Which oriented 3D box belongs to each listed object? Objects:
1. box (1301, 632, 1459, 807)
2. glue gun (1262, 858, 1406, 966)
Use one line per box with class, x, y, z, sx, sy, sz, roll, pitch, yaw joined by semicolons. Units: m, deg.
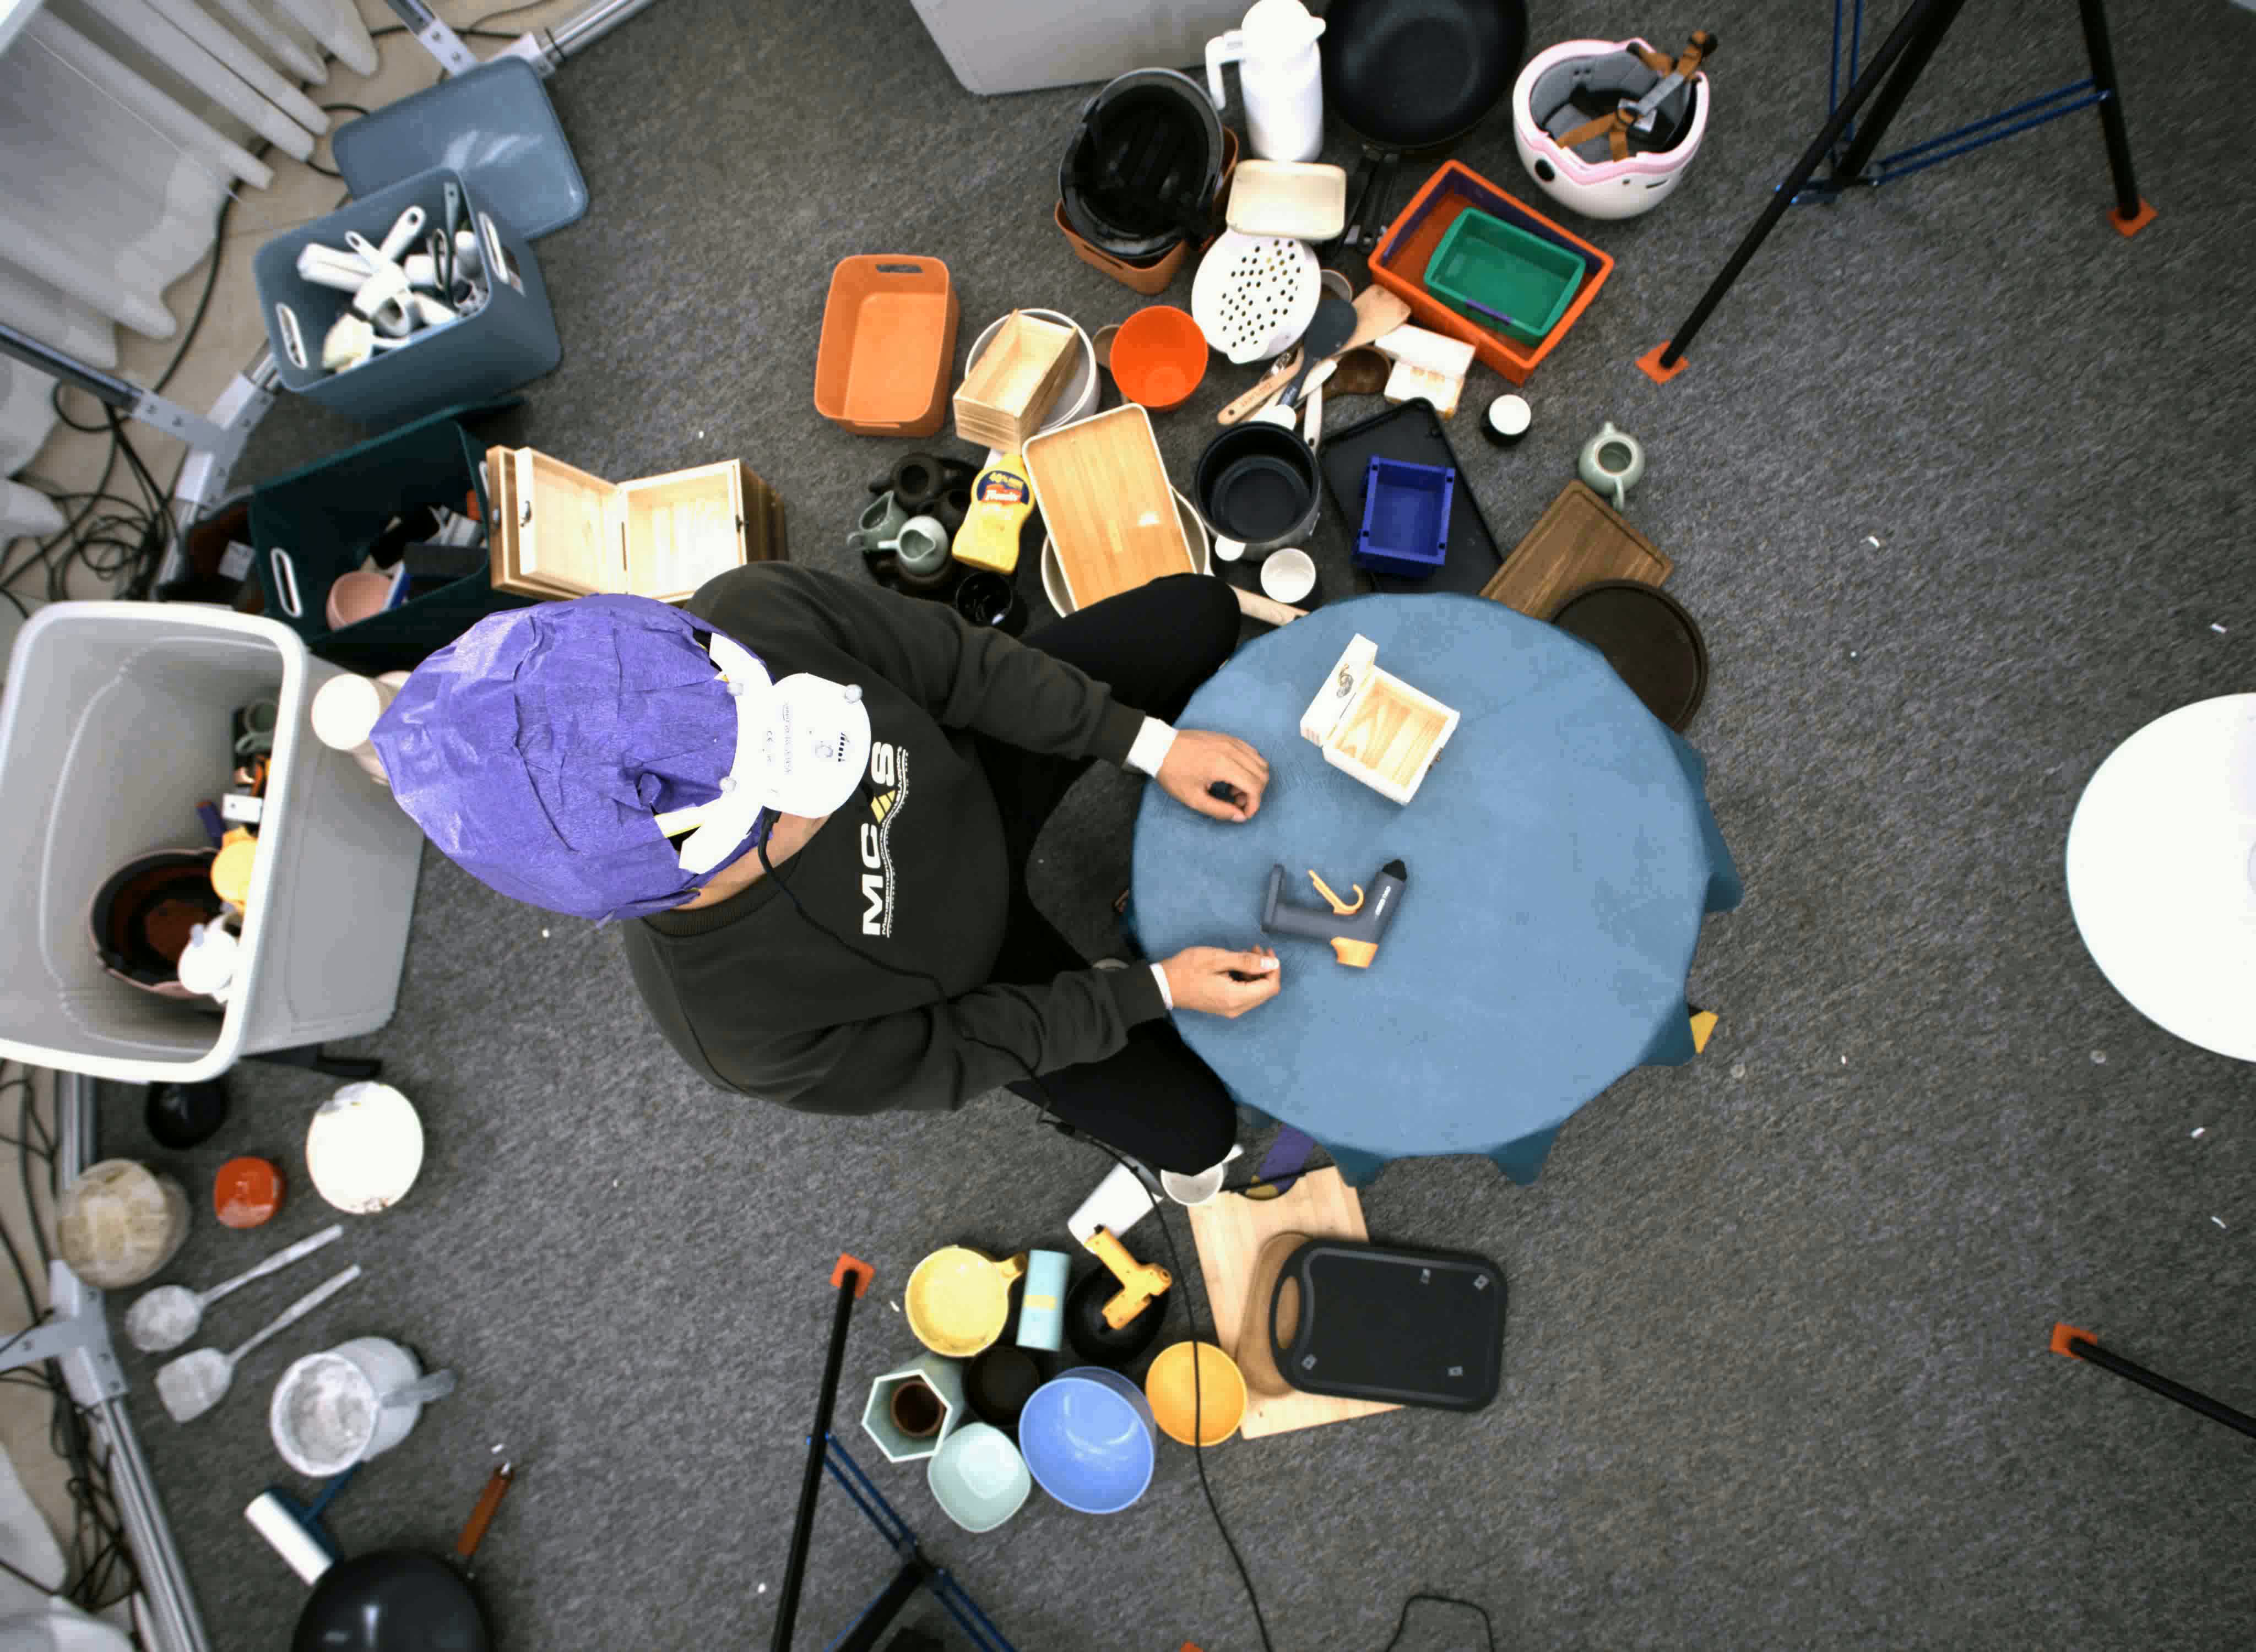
box;0.255;-0.103;1.378;0.133;0.185;0.102;30;89;11
glue gun;0.217;0.081;1.452;0.140;0.041;0.117;9;86;9
